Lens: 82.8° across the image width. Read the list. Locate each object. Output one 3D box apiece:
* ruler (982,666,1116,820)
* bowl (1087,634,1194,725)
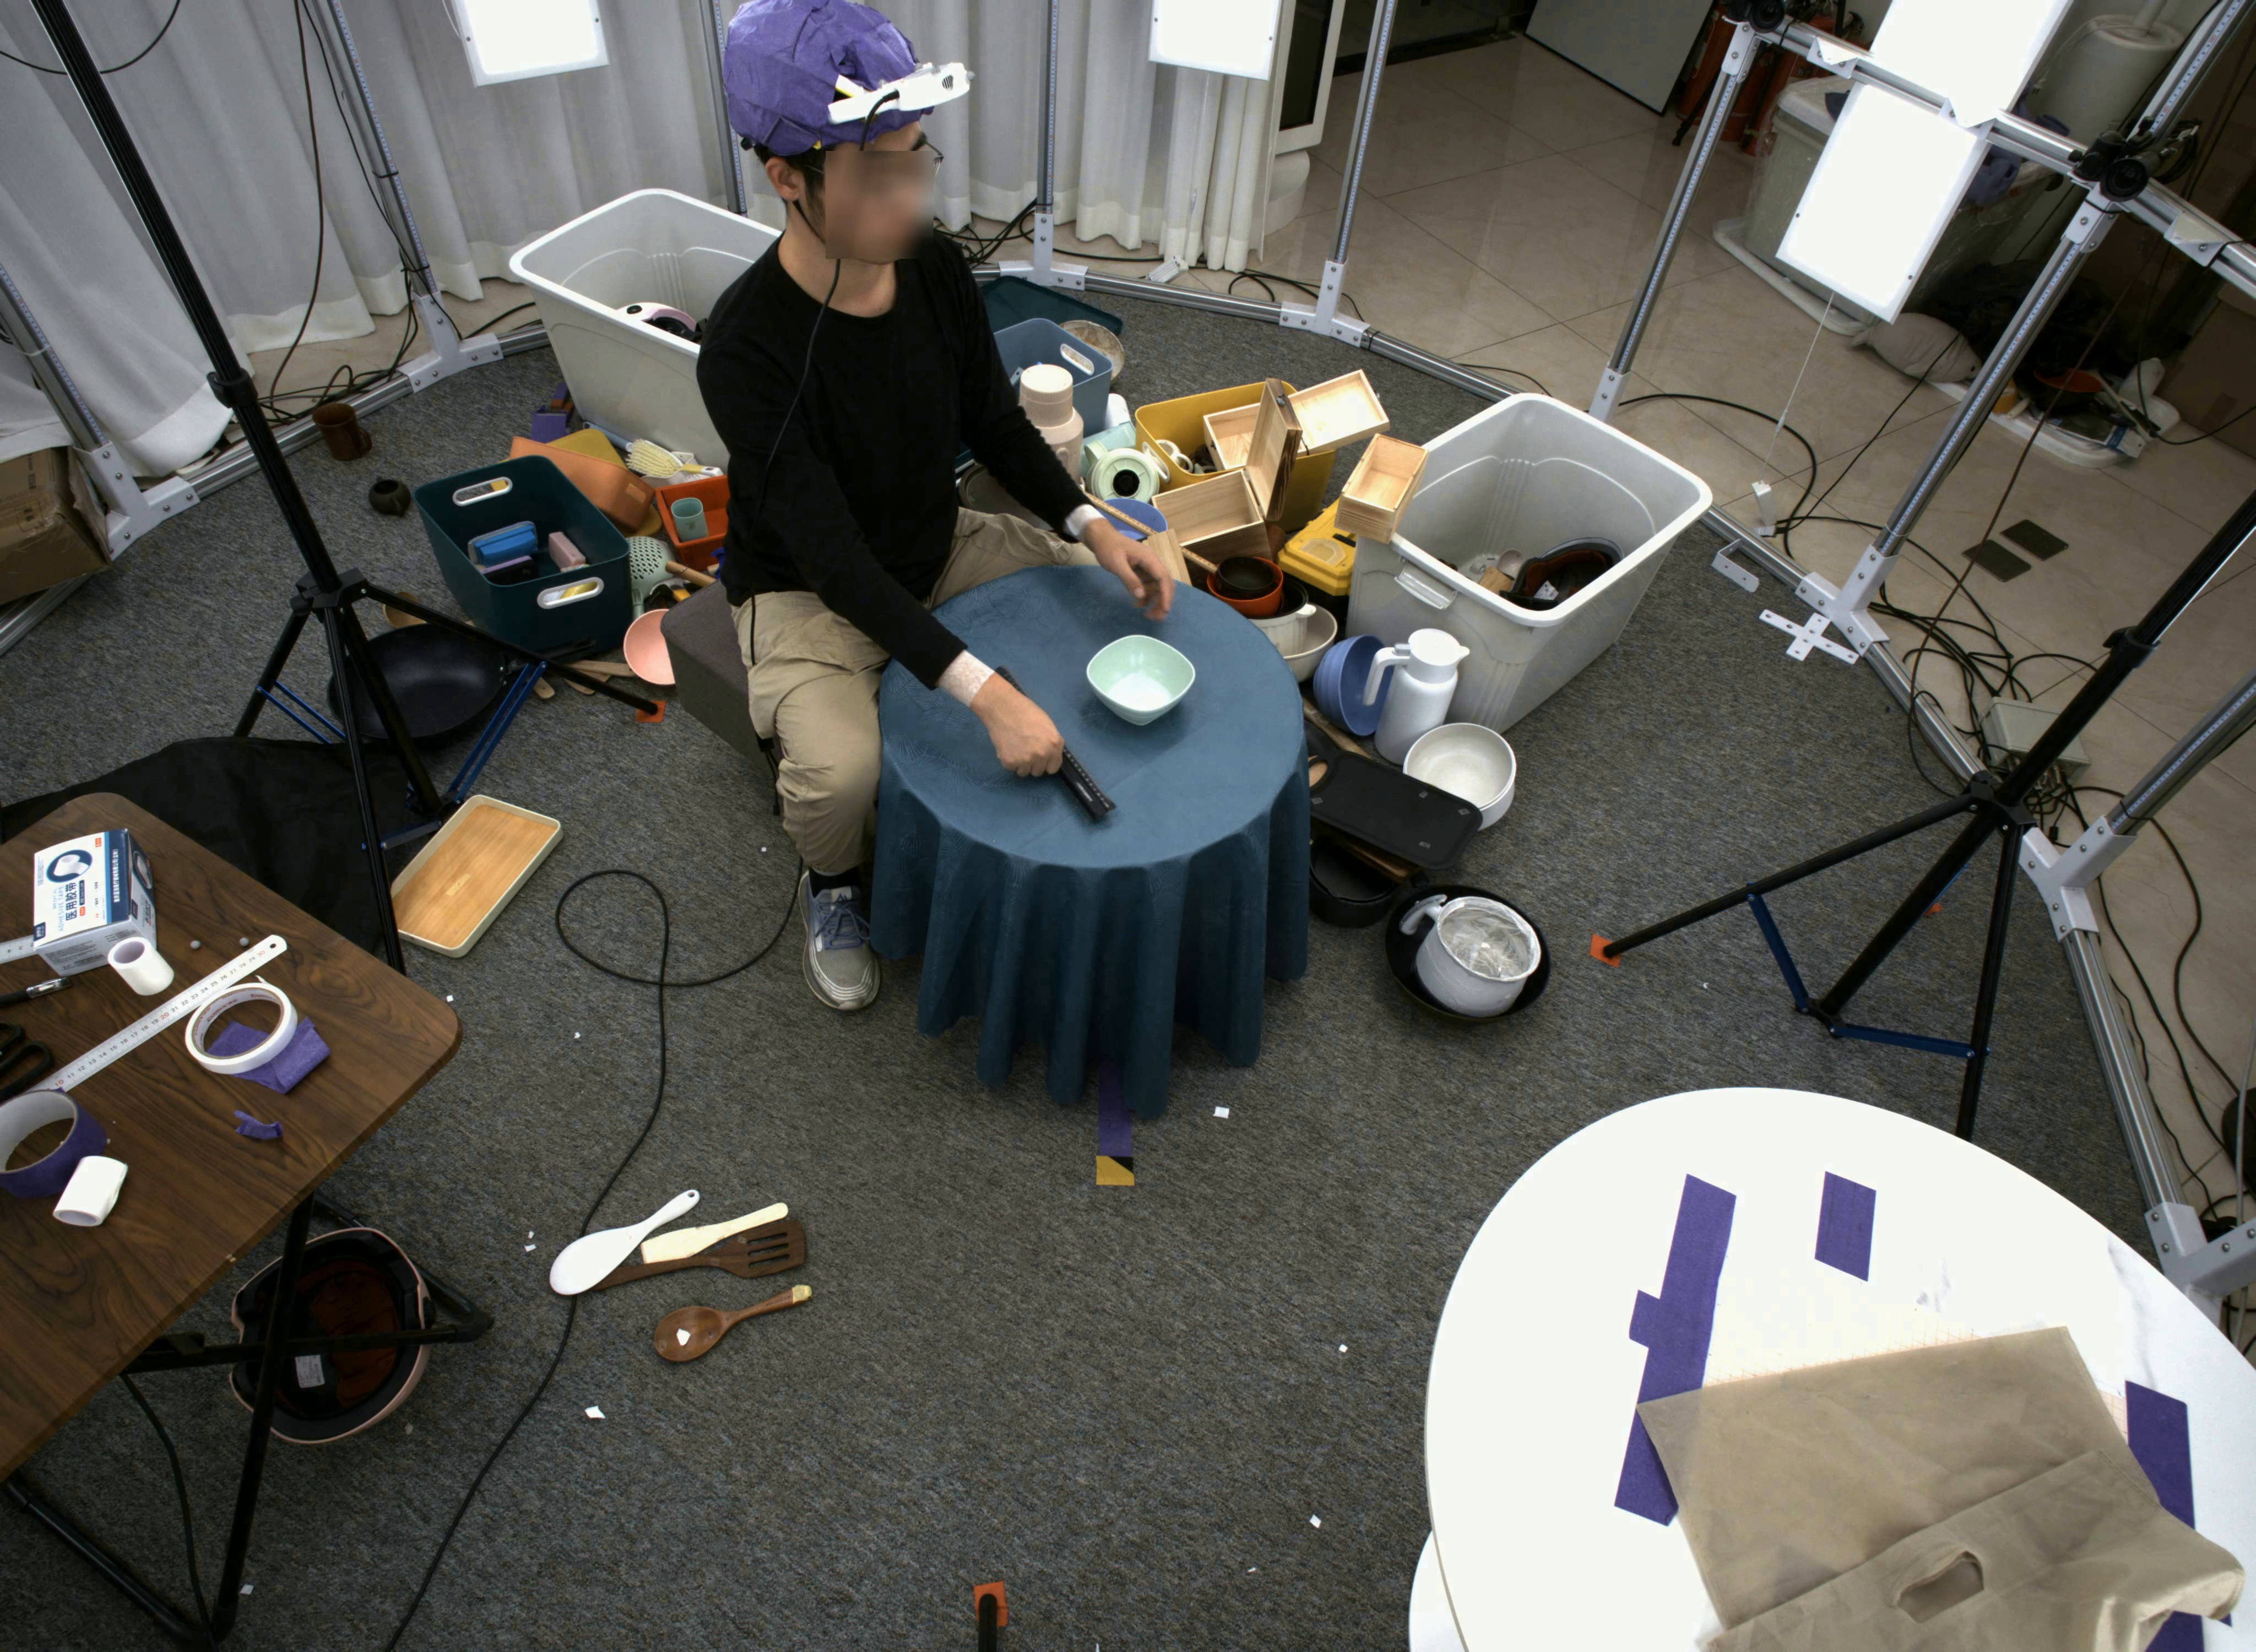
[{"bbox_3d":[-0.111,-0.122,1.745,0.039,0.017,0.319,-27,55,-16],"label":"ruler"},{"bbox_3d":[0.016,-0.197,1.806,0.151,0.057,0.155,2,51,-3],"label":"bowl"}]
